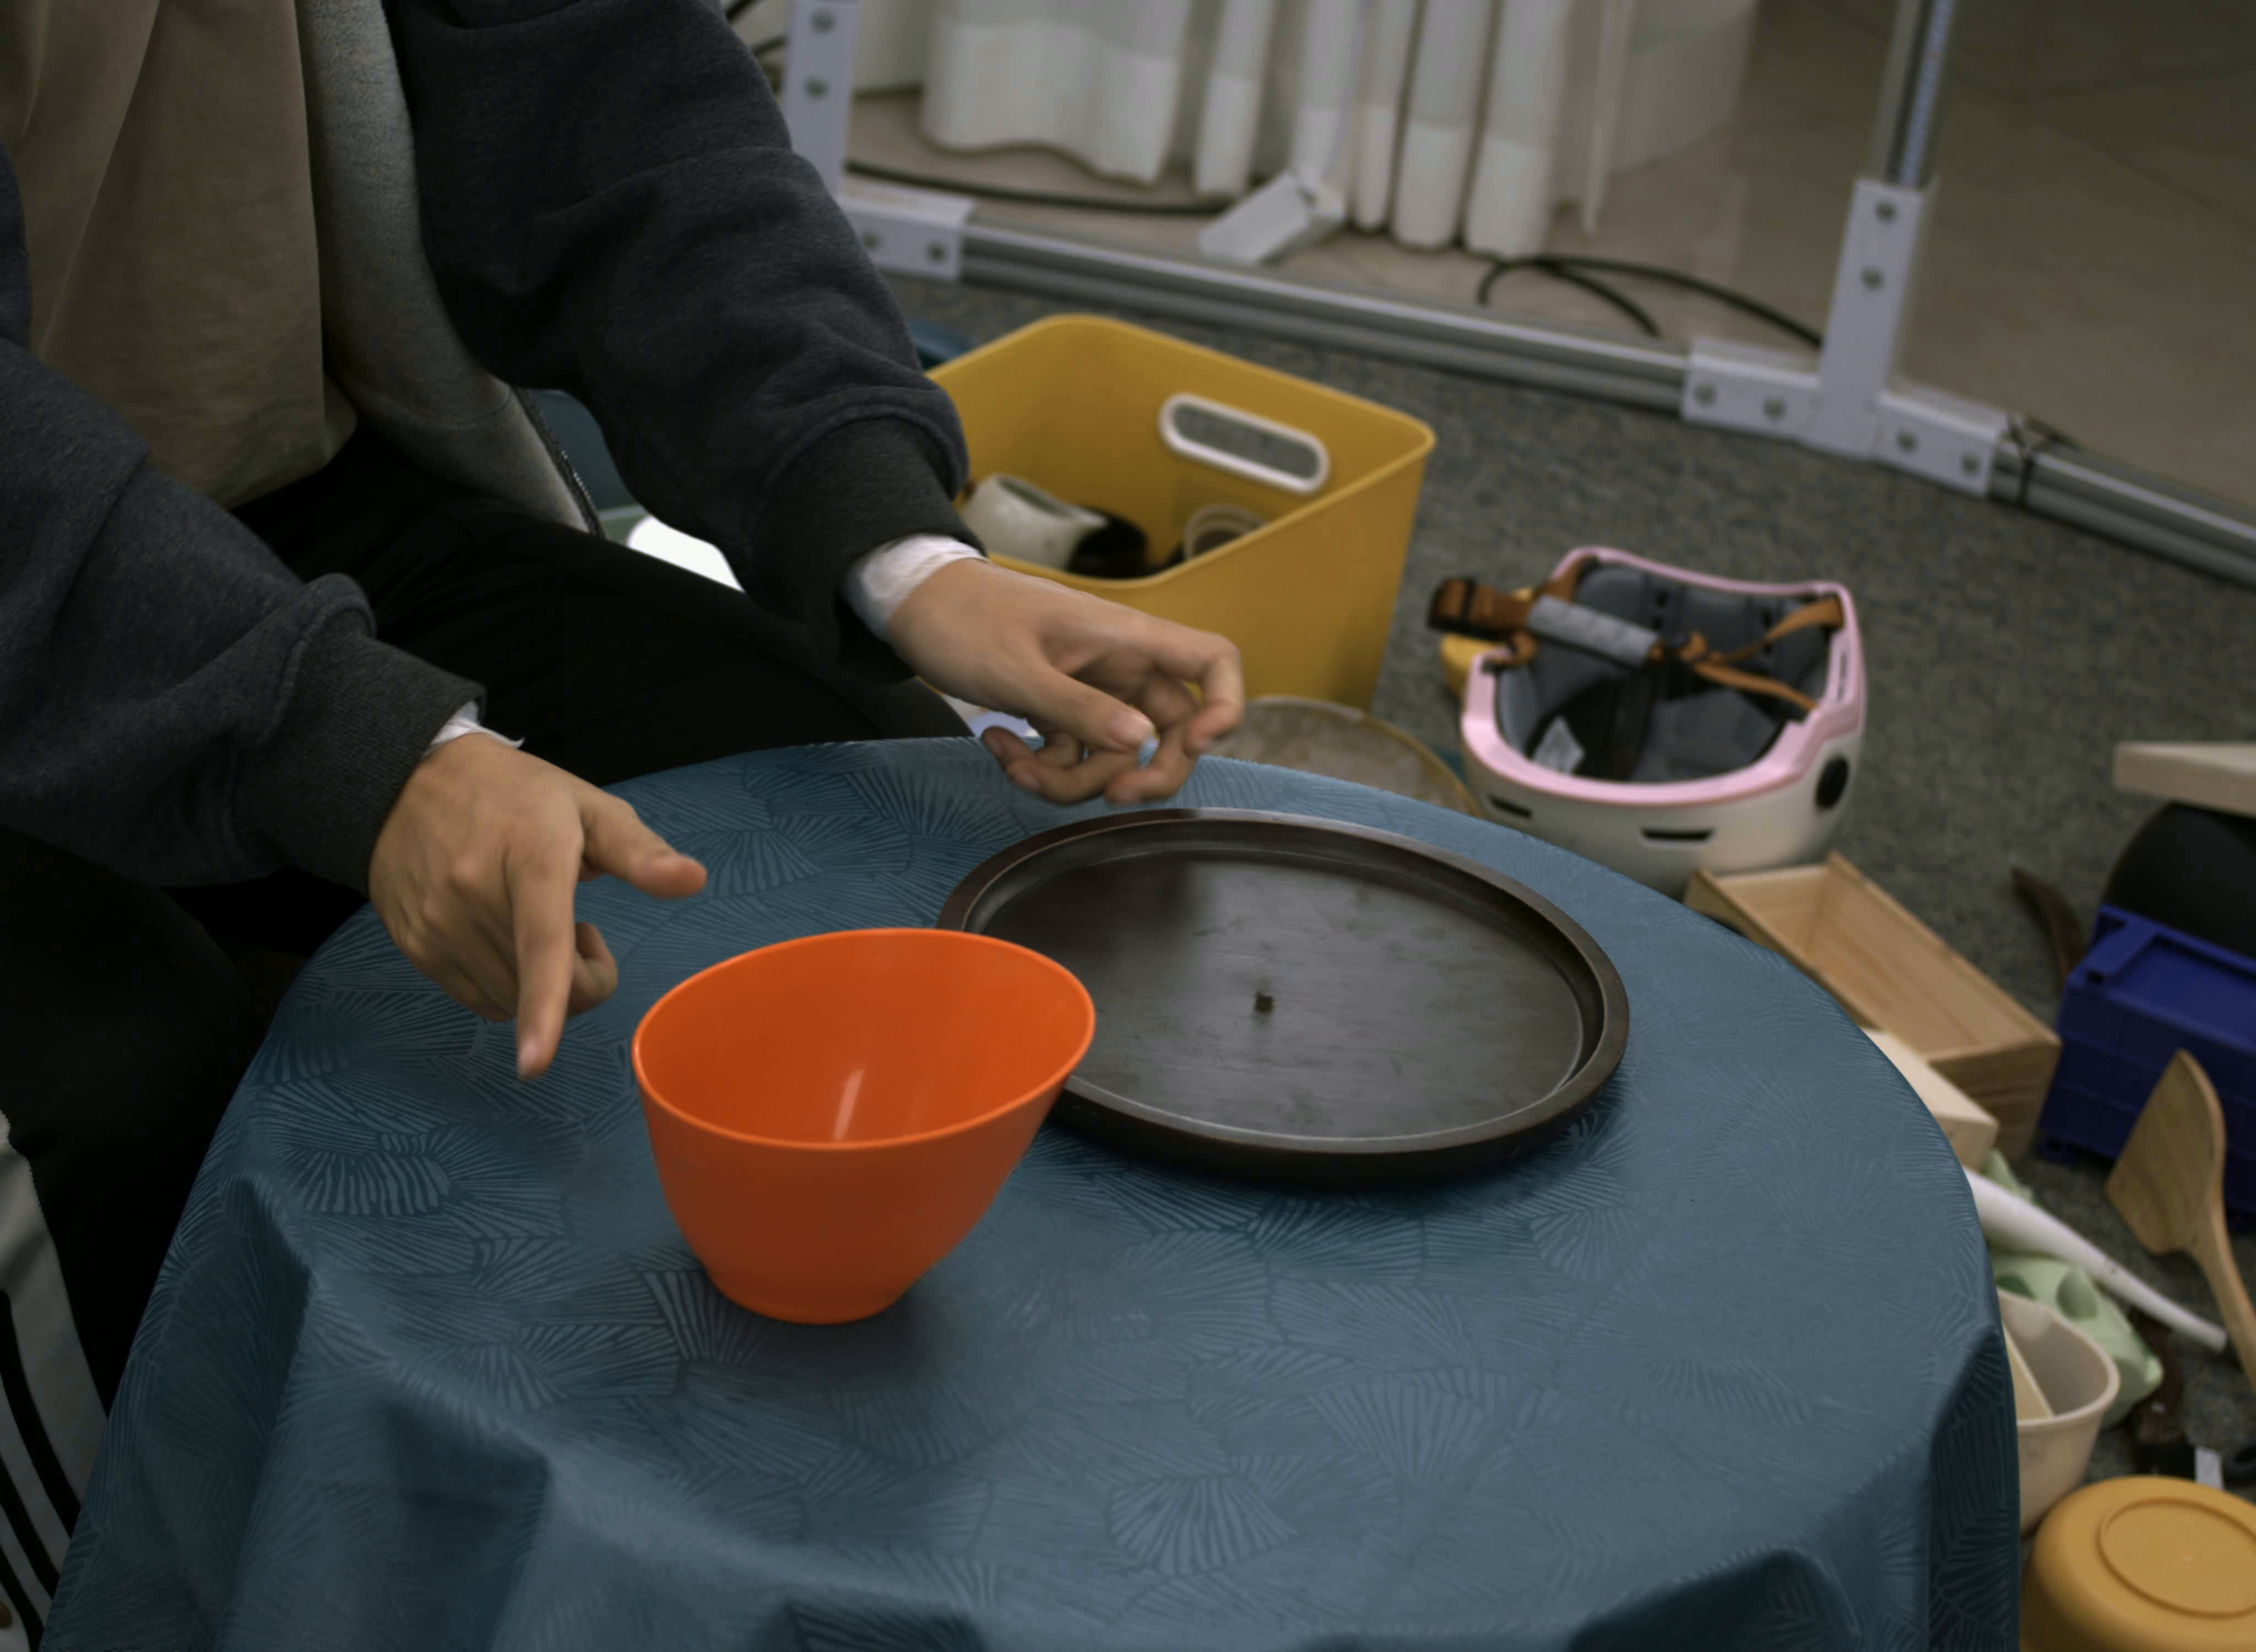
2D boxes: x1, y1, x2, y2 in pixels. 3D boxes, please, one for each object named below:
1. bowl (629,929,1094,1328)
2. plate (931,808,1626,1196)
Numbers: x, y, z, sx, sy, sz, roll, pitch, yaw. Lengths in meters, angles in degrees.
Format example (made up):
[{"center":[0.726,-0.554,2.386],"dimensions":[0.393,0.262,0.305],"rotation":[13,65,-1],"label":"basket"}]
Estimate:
[{"center":[-0.089,0.103,1.711],"dimensions":[0.147,0.104,0.149],"rotation":[5,28,-3],"label":"bowl"},{"center":[0.053,0.061,1.911],"dimensions":[0.254,0.029,0.256],"rotation":[4,28,-3],"label":"plate"}]
